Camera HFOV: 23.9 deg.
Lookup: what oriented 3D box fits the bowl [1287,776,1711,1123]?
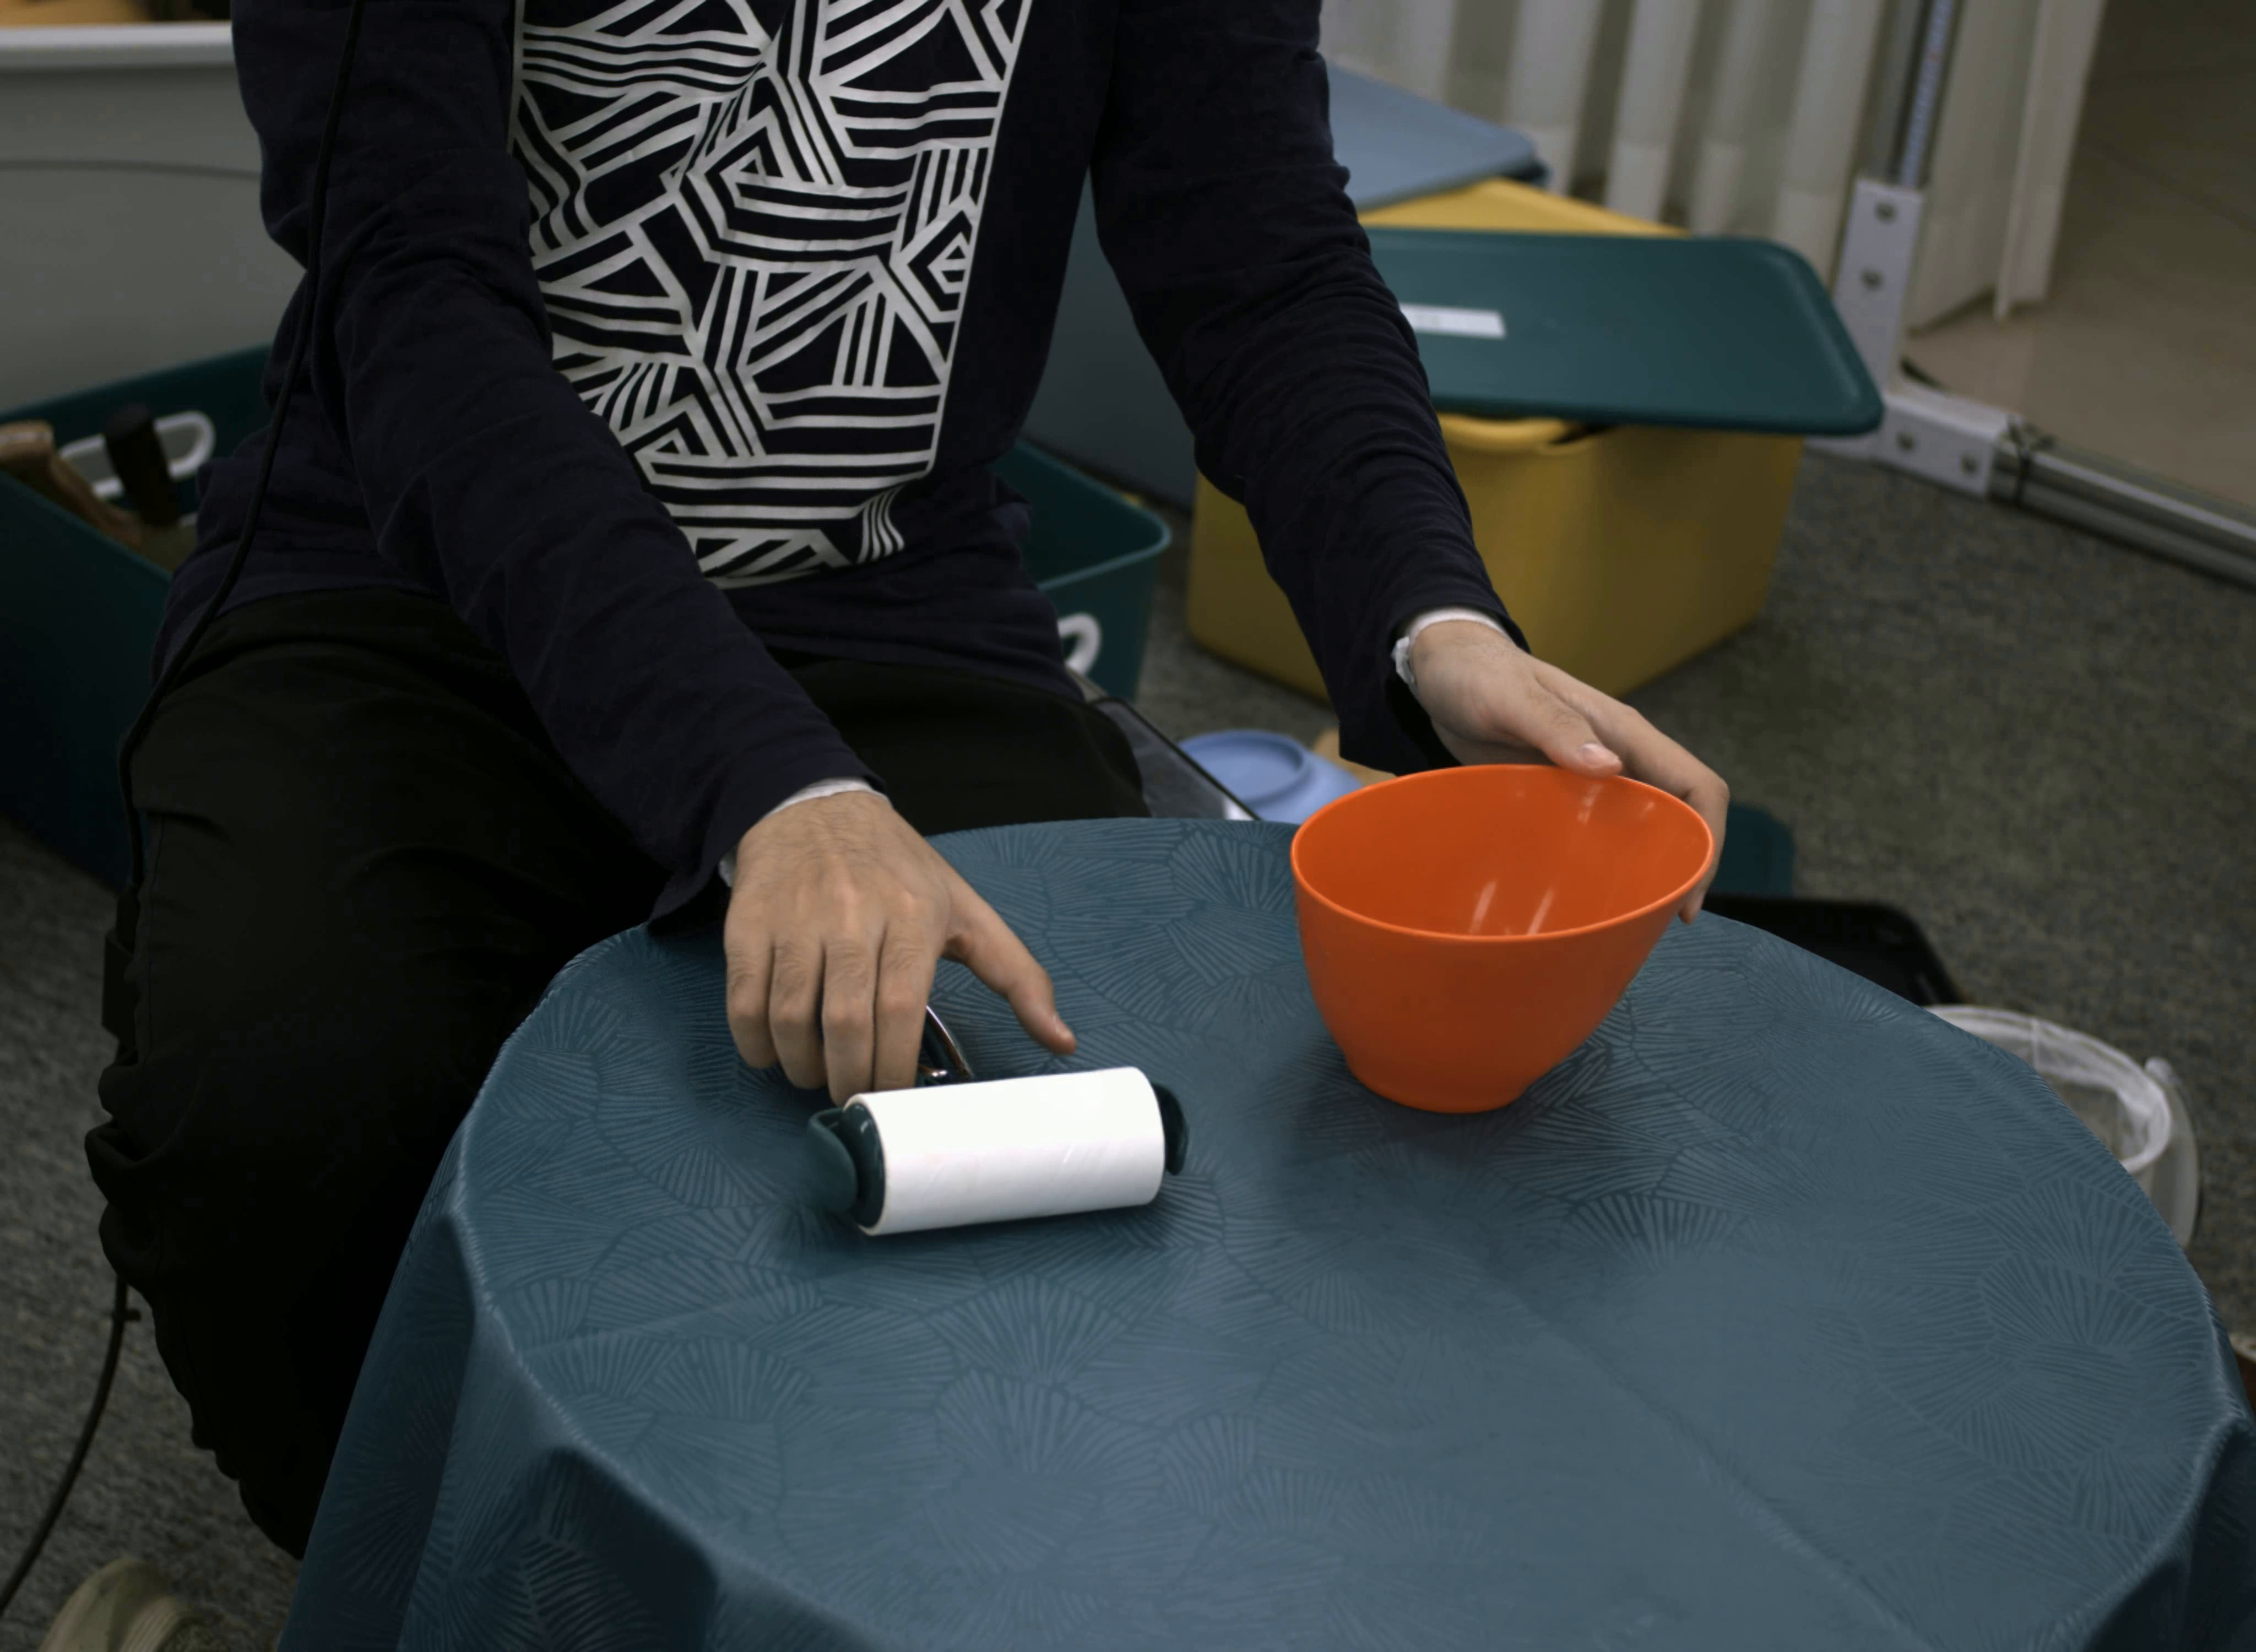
[{"bbox_3d":[0.126,0.047,1.879,0.147,0.104,0.149,4,24,-2],"label":"bowl"}]

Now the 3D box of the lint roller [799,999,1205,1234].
[{"bbox_3d":[-0.069,0.081,1.831,0.133,0.048,0.181,-5,26,-22],"label":"lint roller"}]
